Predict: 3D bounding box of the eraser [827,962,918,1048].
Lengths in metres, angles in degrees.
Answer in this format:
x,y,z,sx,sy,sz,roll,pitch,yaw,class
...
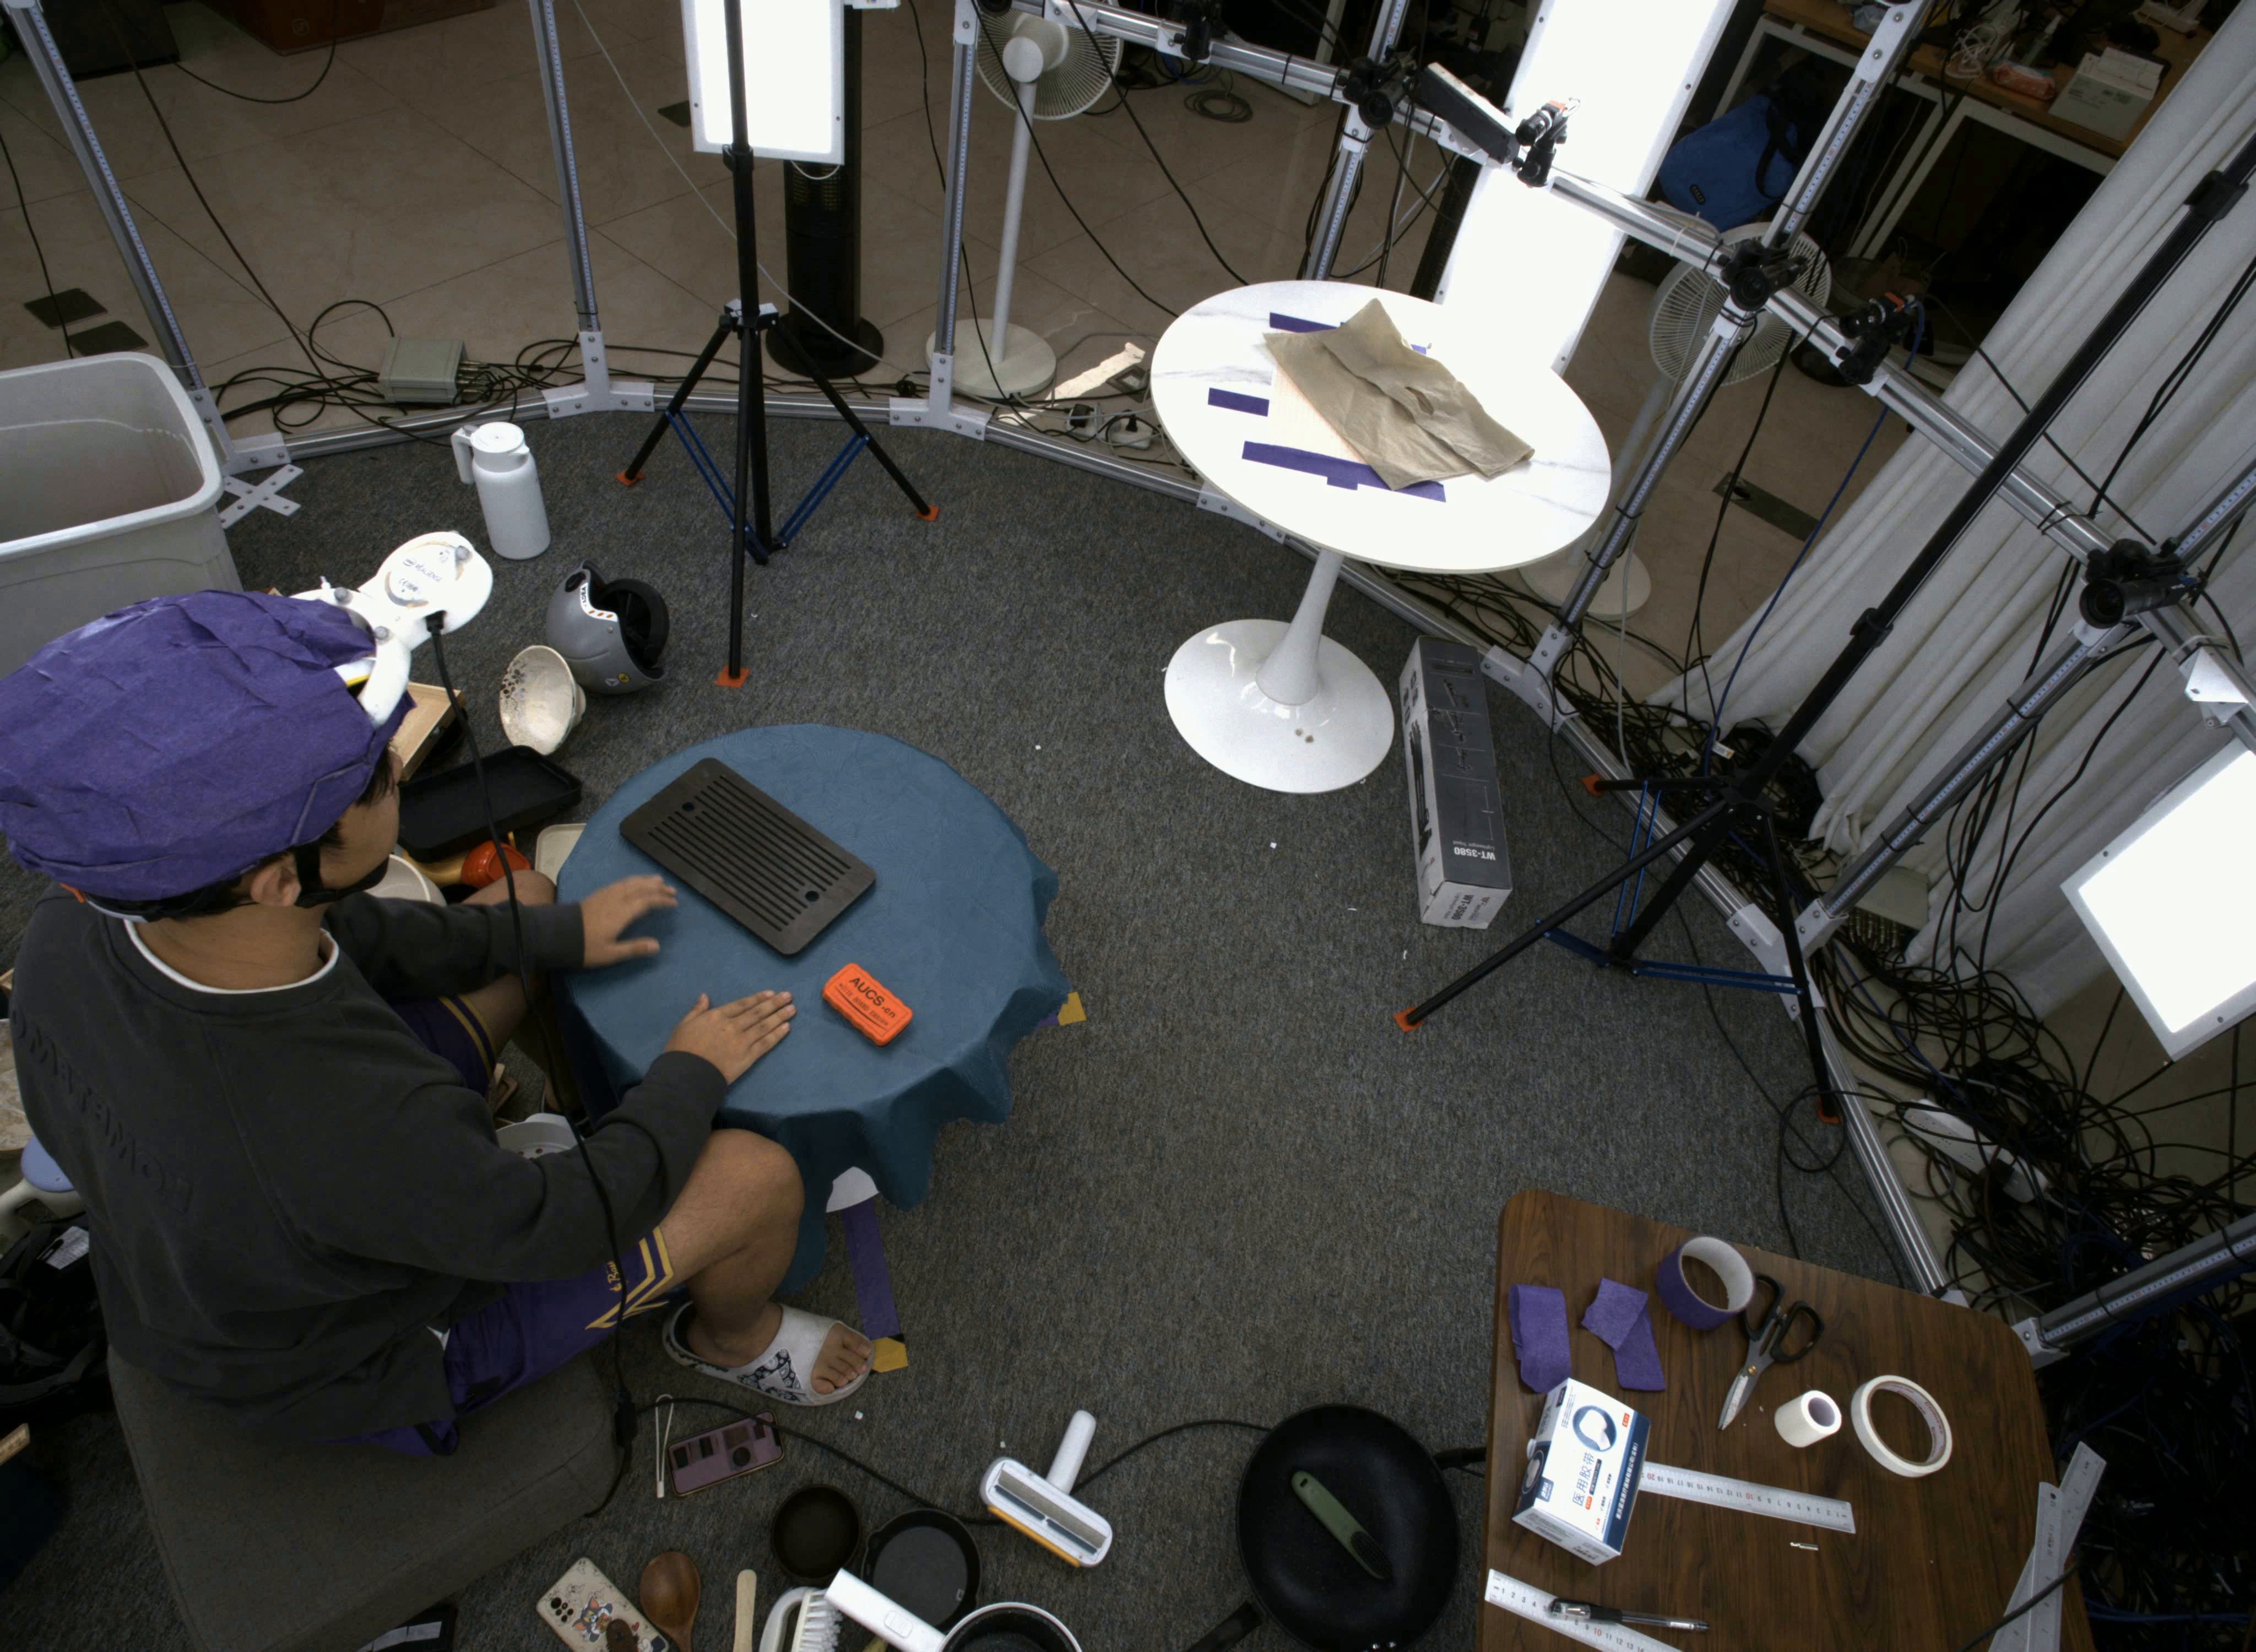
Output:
x,y,z,sx,sy,sz,roll,pitch,yaw,class
-0.311,0.214,1.579,0.106,0.023,0.059,37,54,13,eraser

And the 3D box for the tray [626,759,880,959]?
x,y,z,sx,sy,sz,roll,pitch,yaw,class
-0.486,0.038,1.673,0.300,0.019,0.170,34,53,11,tray
